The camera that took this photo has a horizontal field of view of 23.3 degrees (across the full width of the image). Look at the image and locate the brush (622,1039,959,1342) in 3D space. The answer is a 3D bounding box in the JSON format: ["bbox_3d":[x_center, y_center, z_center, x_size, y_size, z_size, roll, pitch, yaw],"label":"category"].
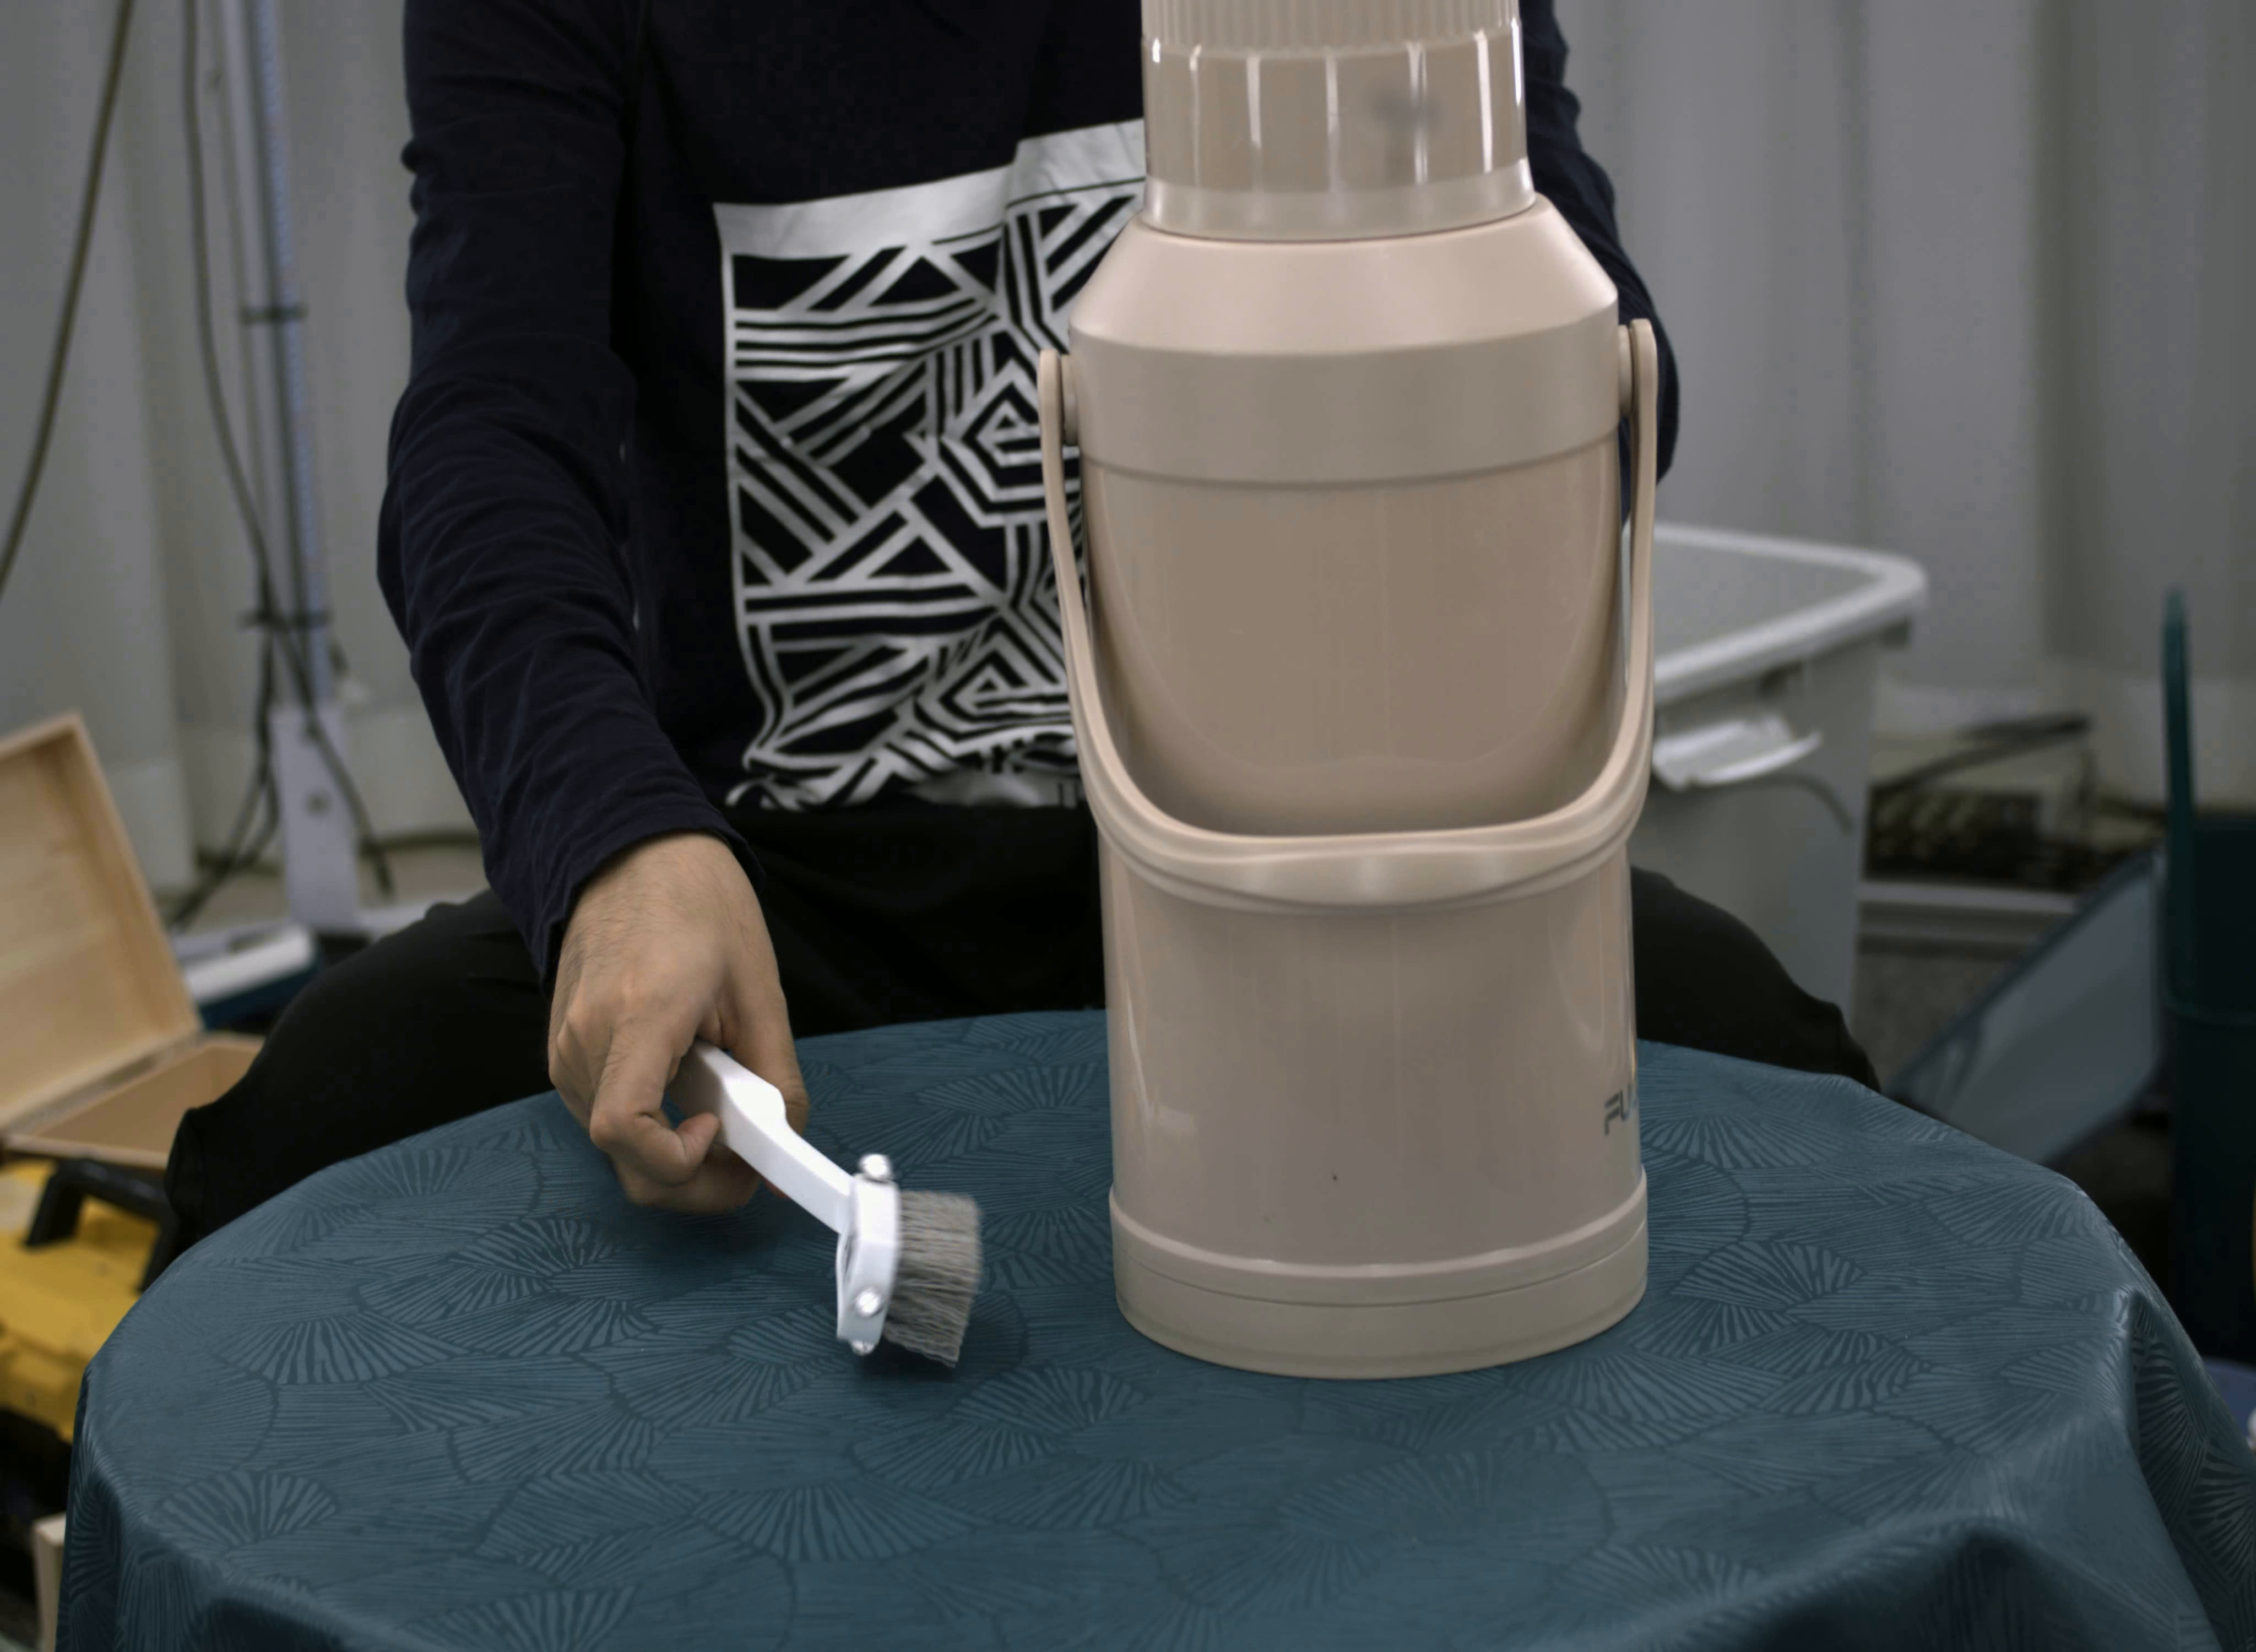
[{"bbox_3d":[-0.100,0.104,1.659,0.050,0.034,0.245,-8,16,-20],"label":"brush"}]

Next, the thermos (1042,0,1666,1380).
[{"bbox_3d":[0.069,-0.059,1.587,0.175,0.405,0.208,-5,14,-1],"label":"thermos"}]
